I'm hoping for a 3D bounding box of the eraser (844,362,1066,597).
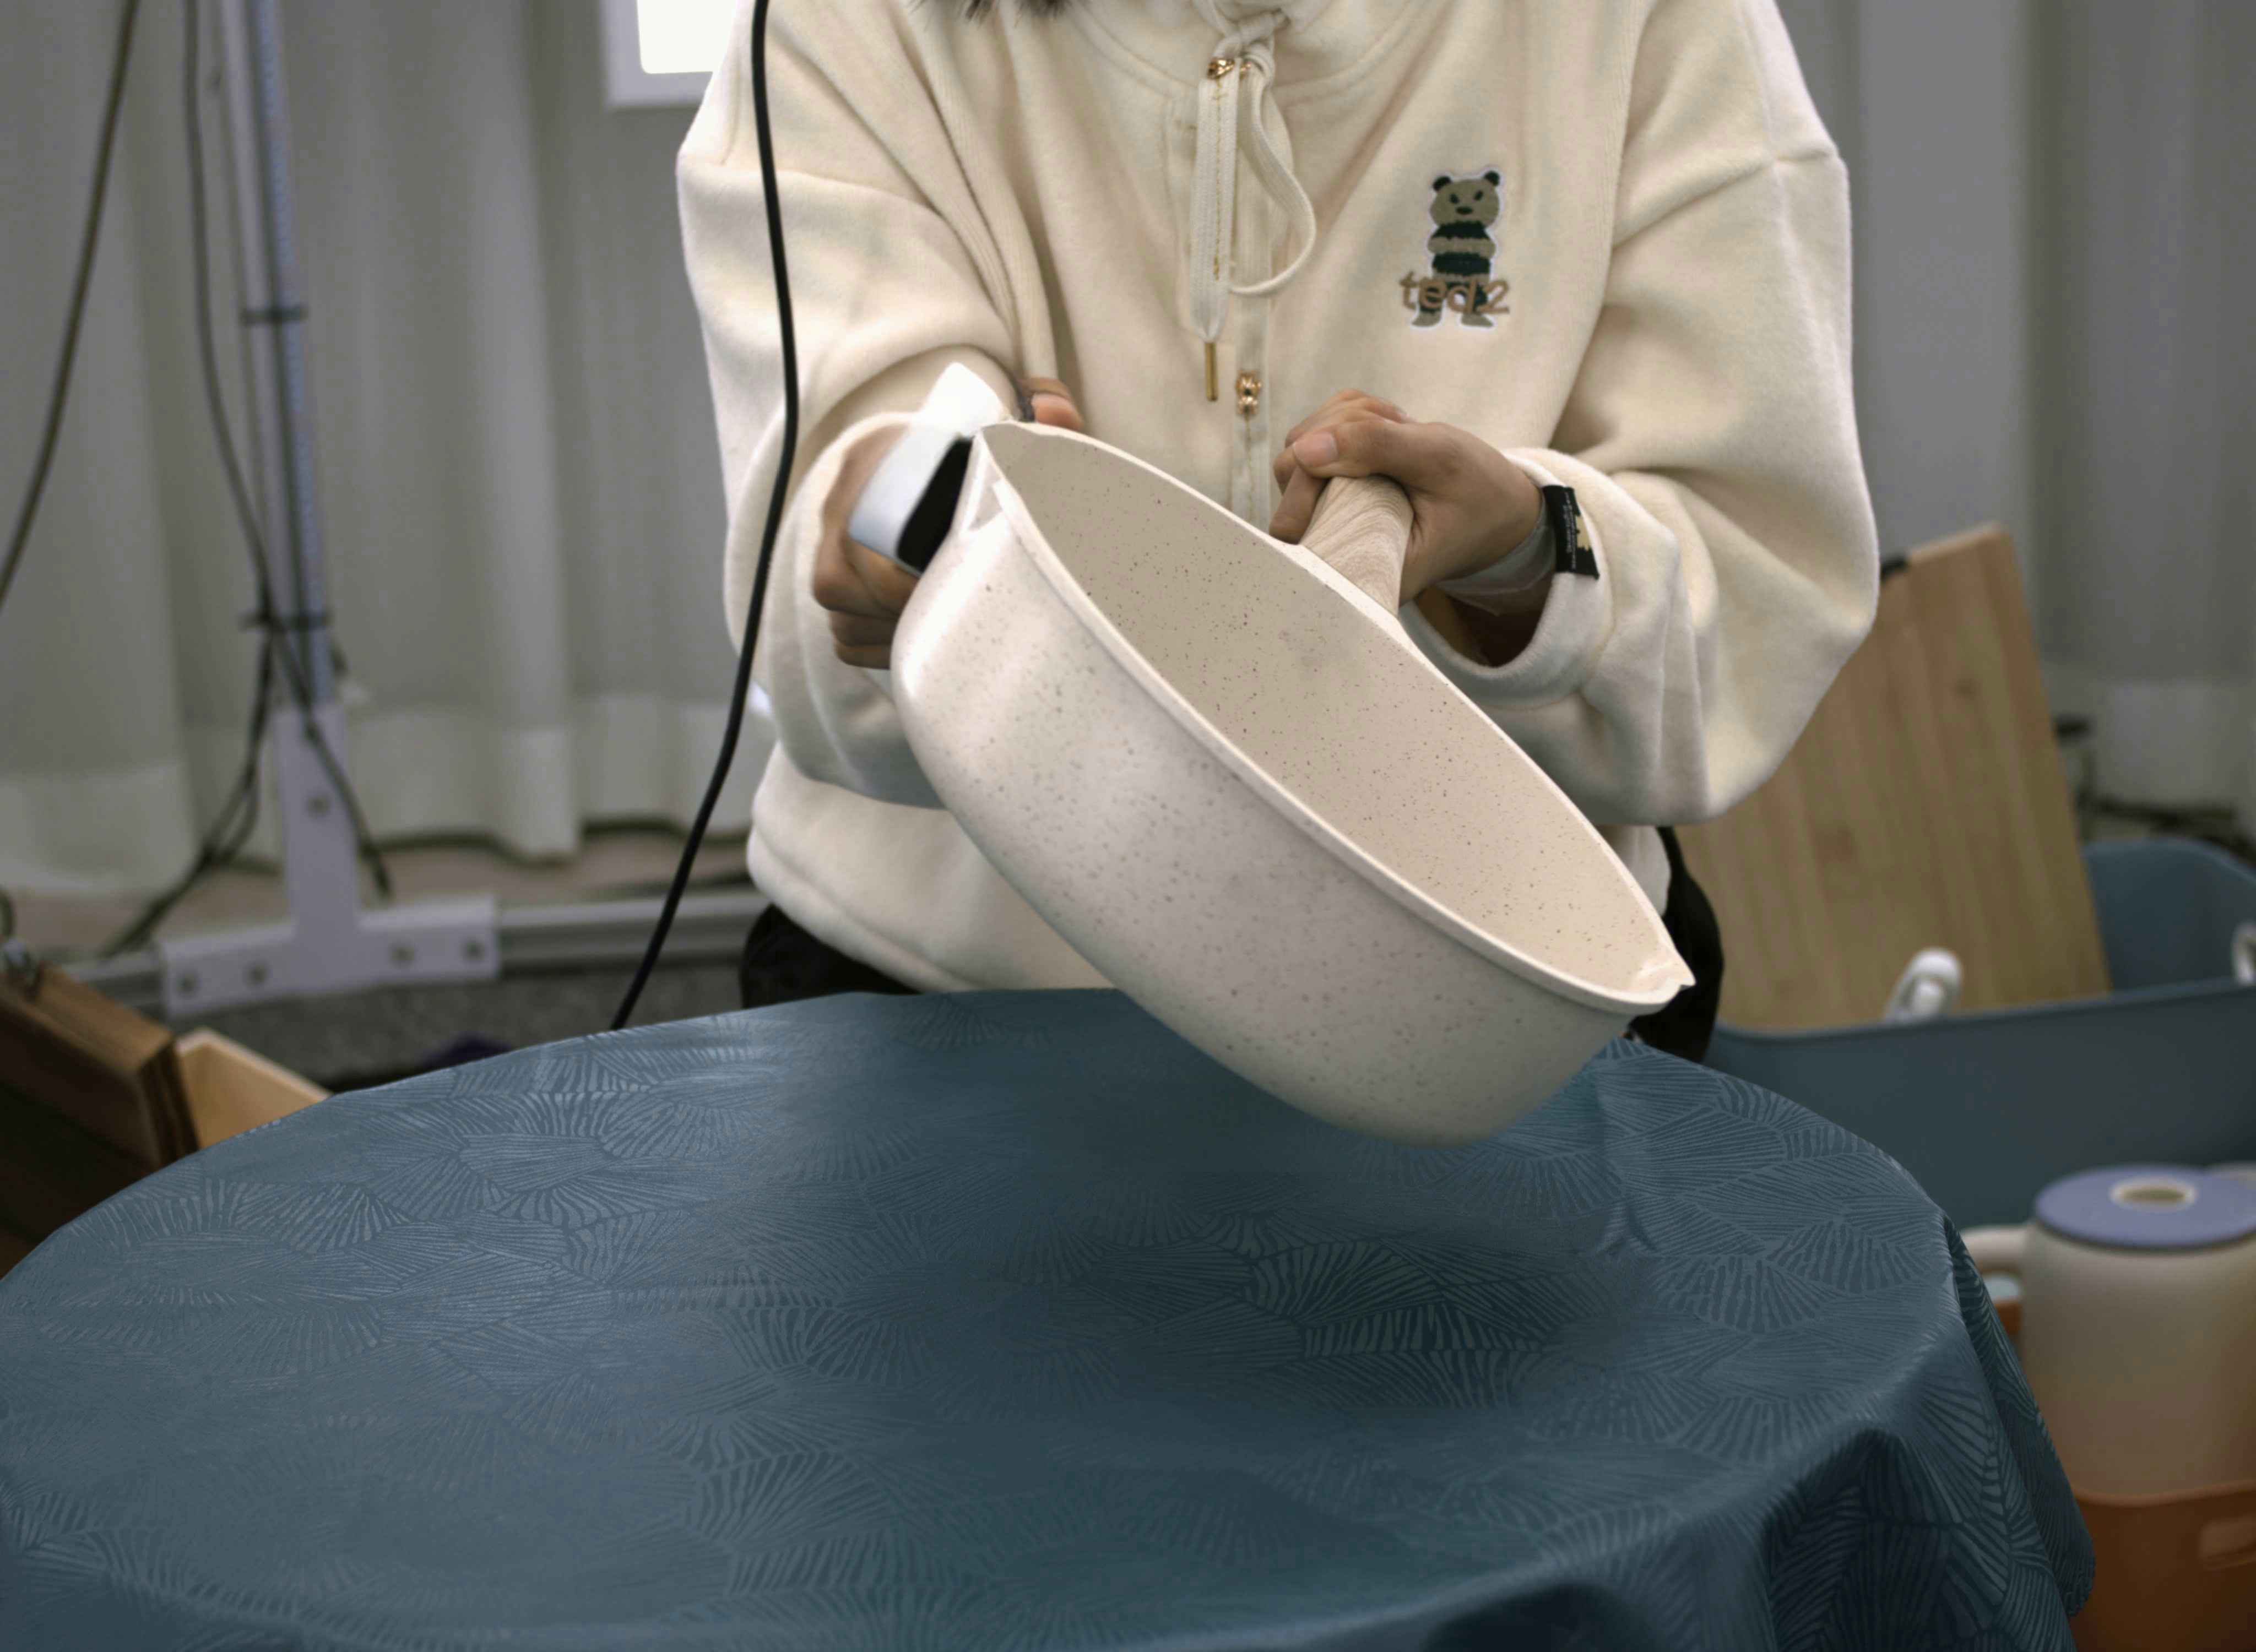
[{"bbox_3d":[-0.047,-0.100,1.638,0.034,0.063,0.130,35,1,13],"label":"eraser"}]

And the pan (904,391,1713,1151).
[{"bbox_3d":[0.051,-0.037,1.663,0.262,0.101,0.438,36,16,-8],"label":"pan"}]
